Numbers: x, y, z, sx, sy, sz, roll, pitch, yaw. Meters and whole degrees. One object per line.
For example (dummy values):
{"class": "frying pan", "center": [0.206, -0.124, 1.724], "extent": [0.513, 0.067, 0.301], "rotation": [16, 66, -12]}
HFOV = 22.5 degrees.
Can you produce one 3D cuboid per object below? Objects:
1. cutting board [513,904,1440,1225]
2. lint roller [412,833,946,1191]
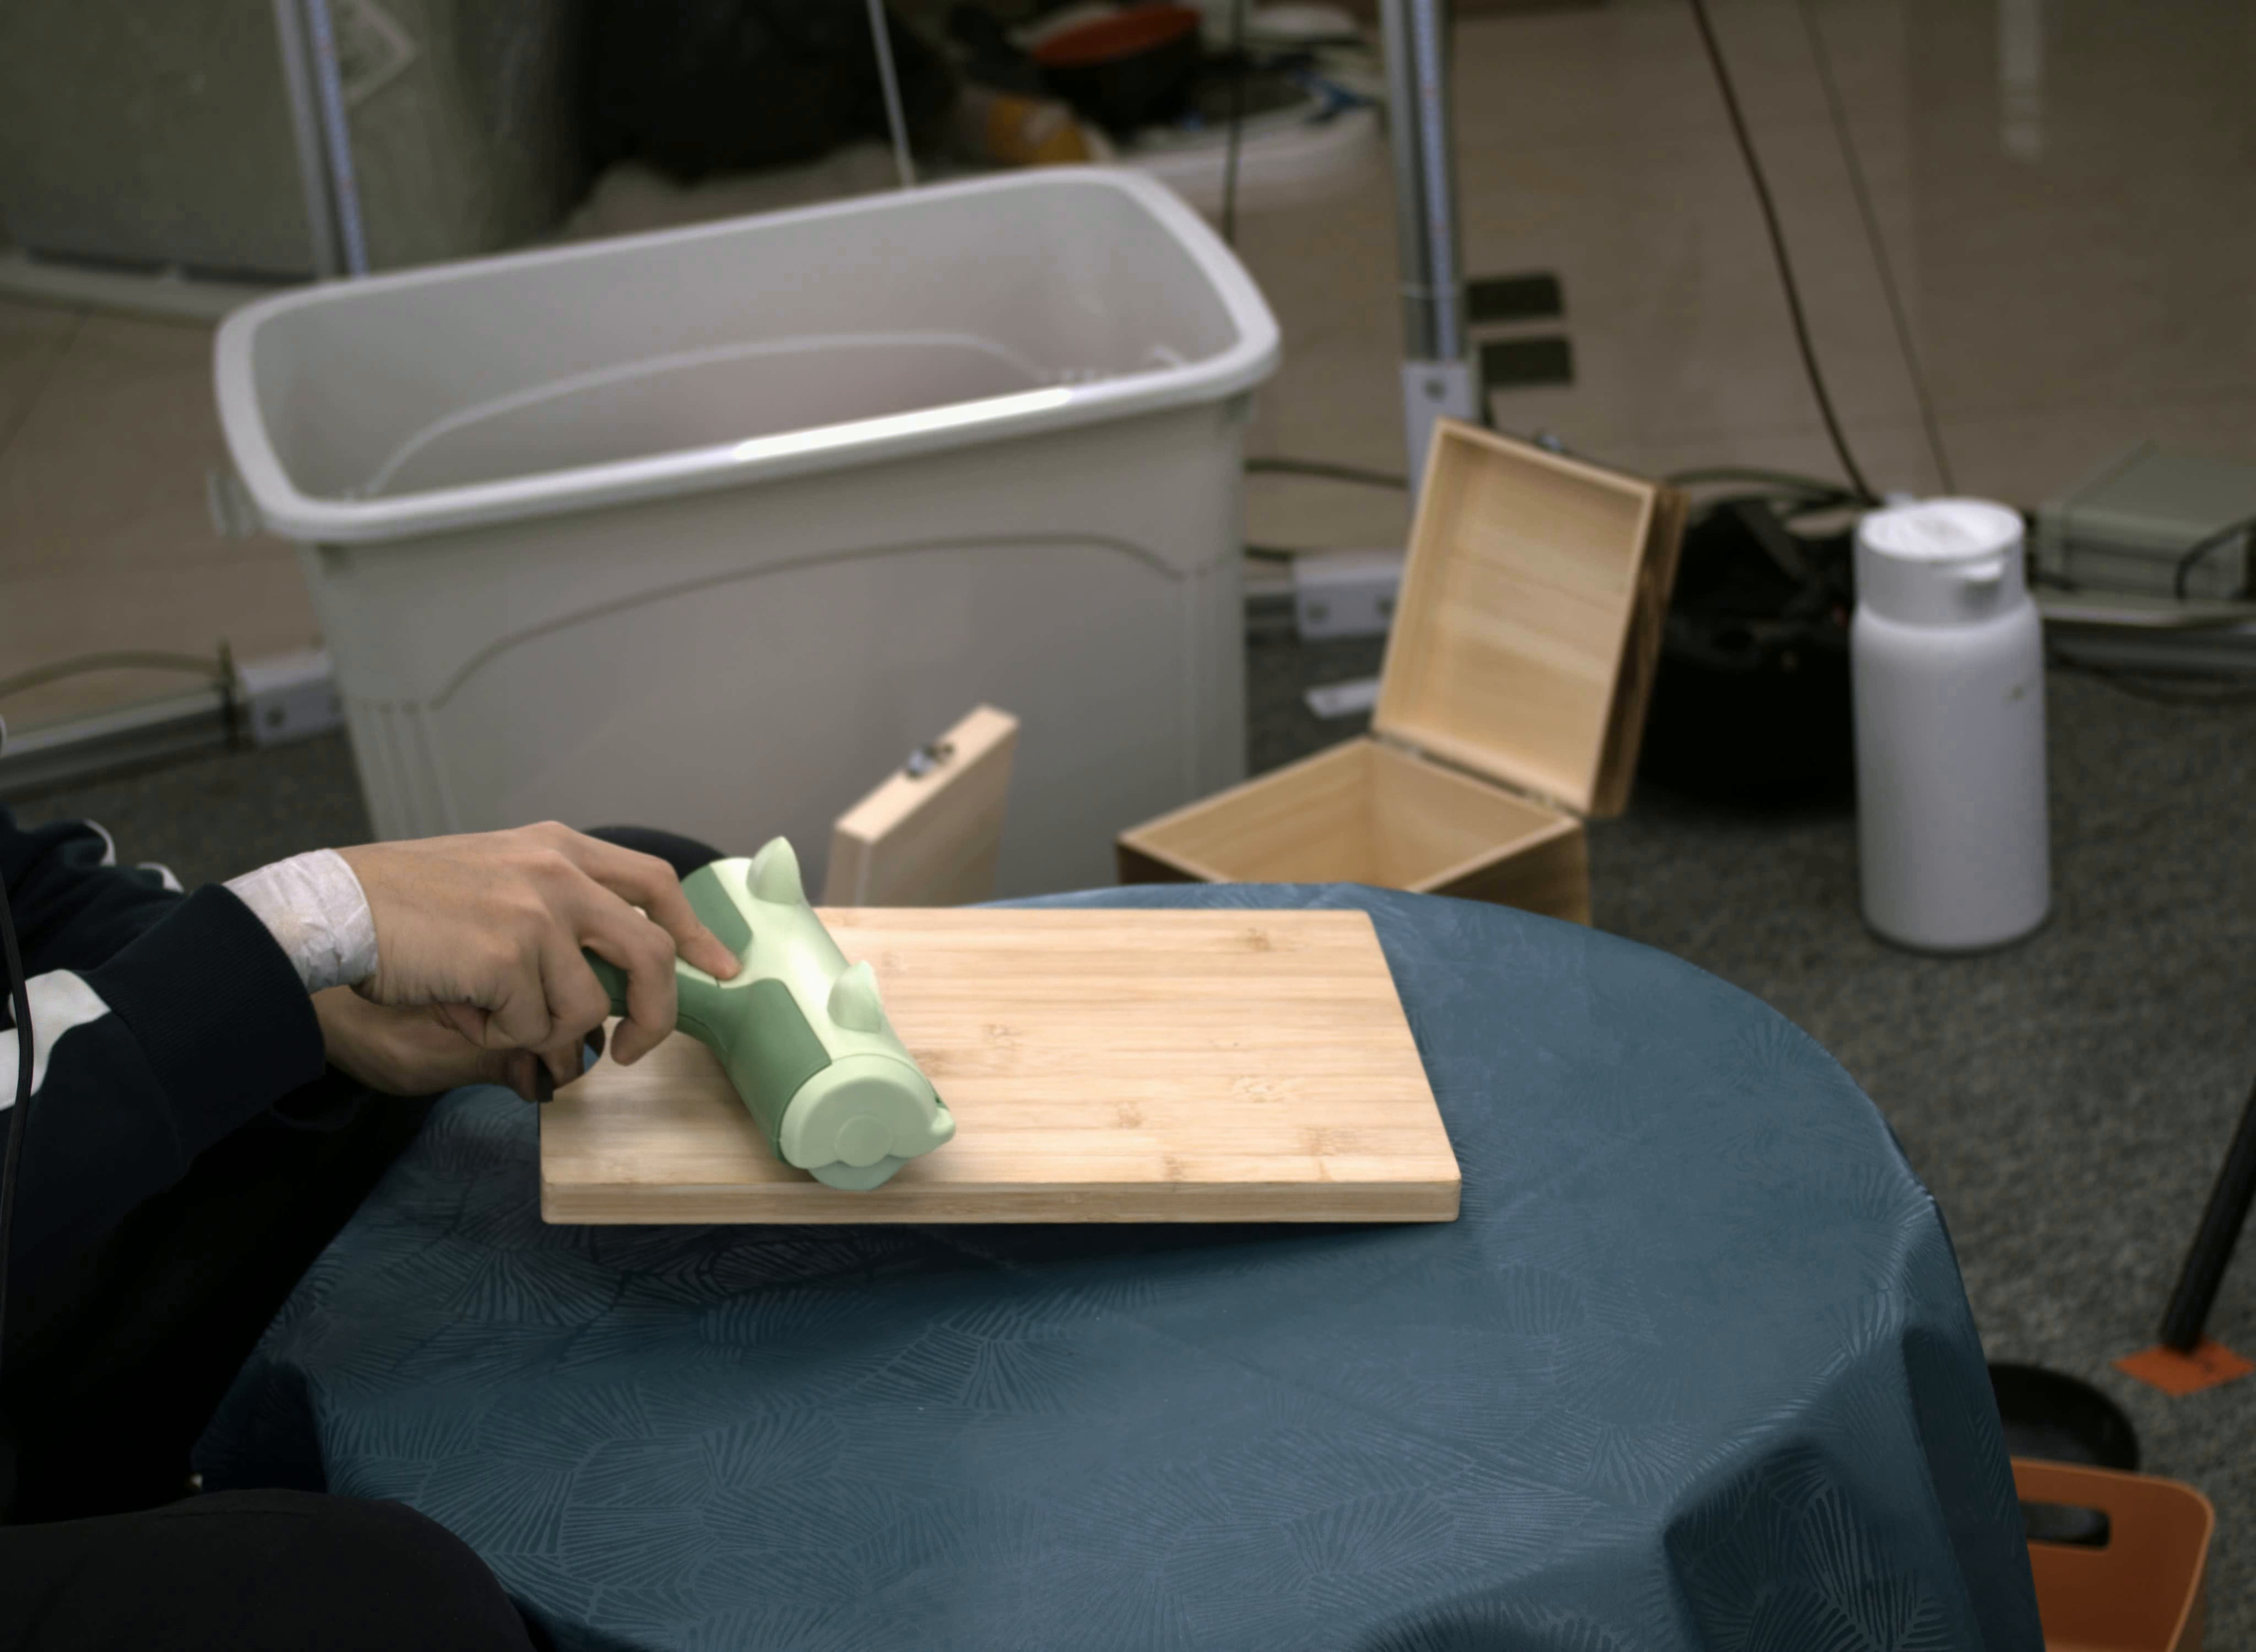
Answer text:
{"class": "cutting board", "center": [-0.063, 0.090, 2.182], "extent": [0.348, 0.024, 0.247], "rotation": [0, 24, -8]}
{"class": "lint roller", "center": [-0.169, 0.046, 2.092], "extent": [0.184, 0.083, 0.196], "rotation": [23, 15, -27]}
